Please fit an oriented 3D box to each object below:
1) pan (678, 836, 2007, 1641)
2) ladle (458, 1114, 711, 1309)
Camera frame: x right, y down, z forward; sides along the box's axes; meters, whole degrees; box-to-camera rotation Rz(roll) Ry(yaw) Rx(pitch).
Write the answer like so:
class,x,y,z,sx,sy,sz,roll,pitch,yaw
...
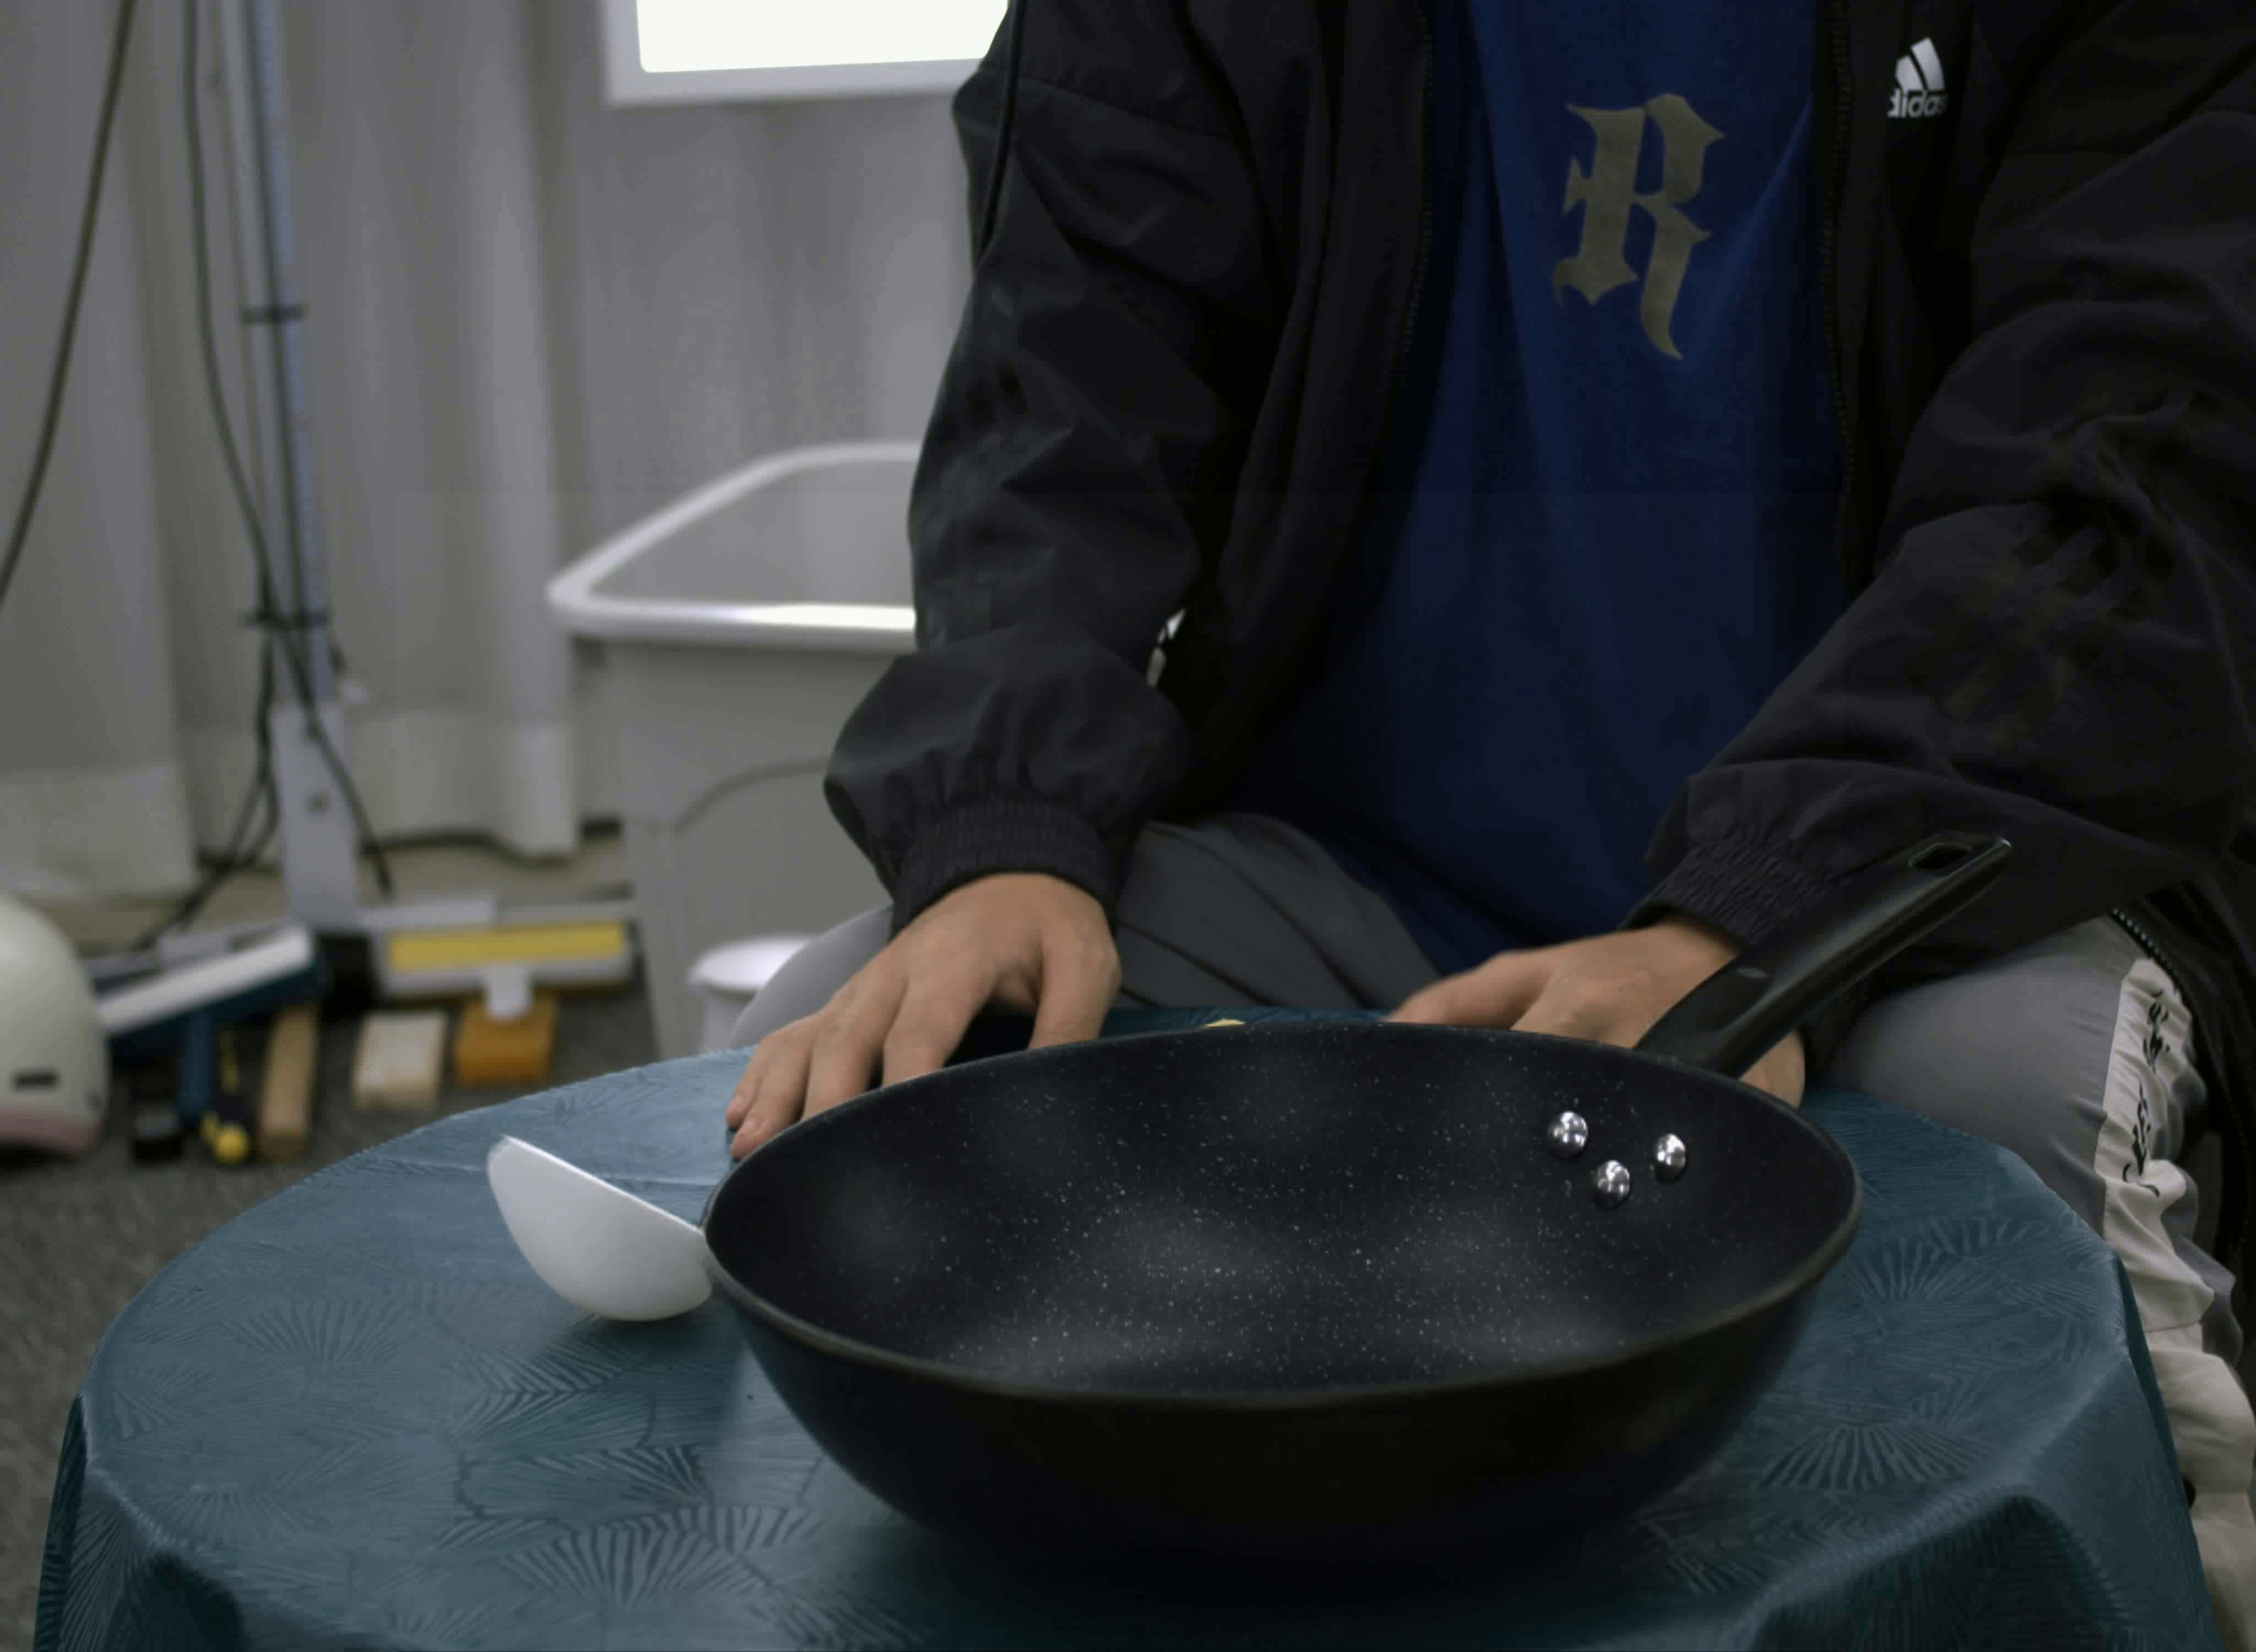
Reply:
class,x,y,z,sx,sy,sz,roll,pitch,yaw
pan,0.094,0.111,1.504,0.312,0.111,0.476,13,22,42
ladle,-0.072,0.093,1.684,0.292,0.070,0.090,-12,14,-38
